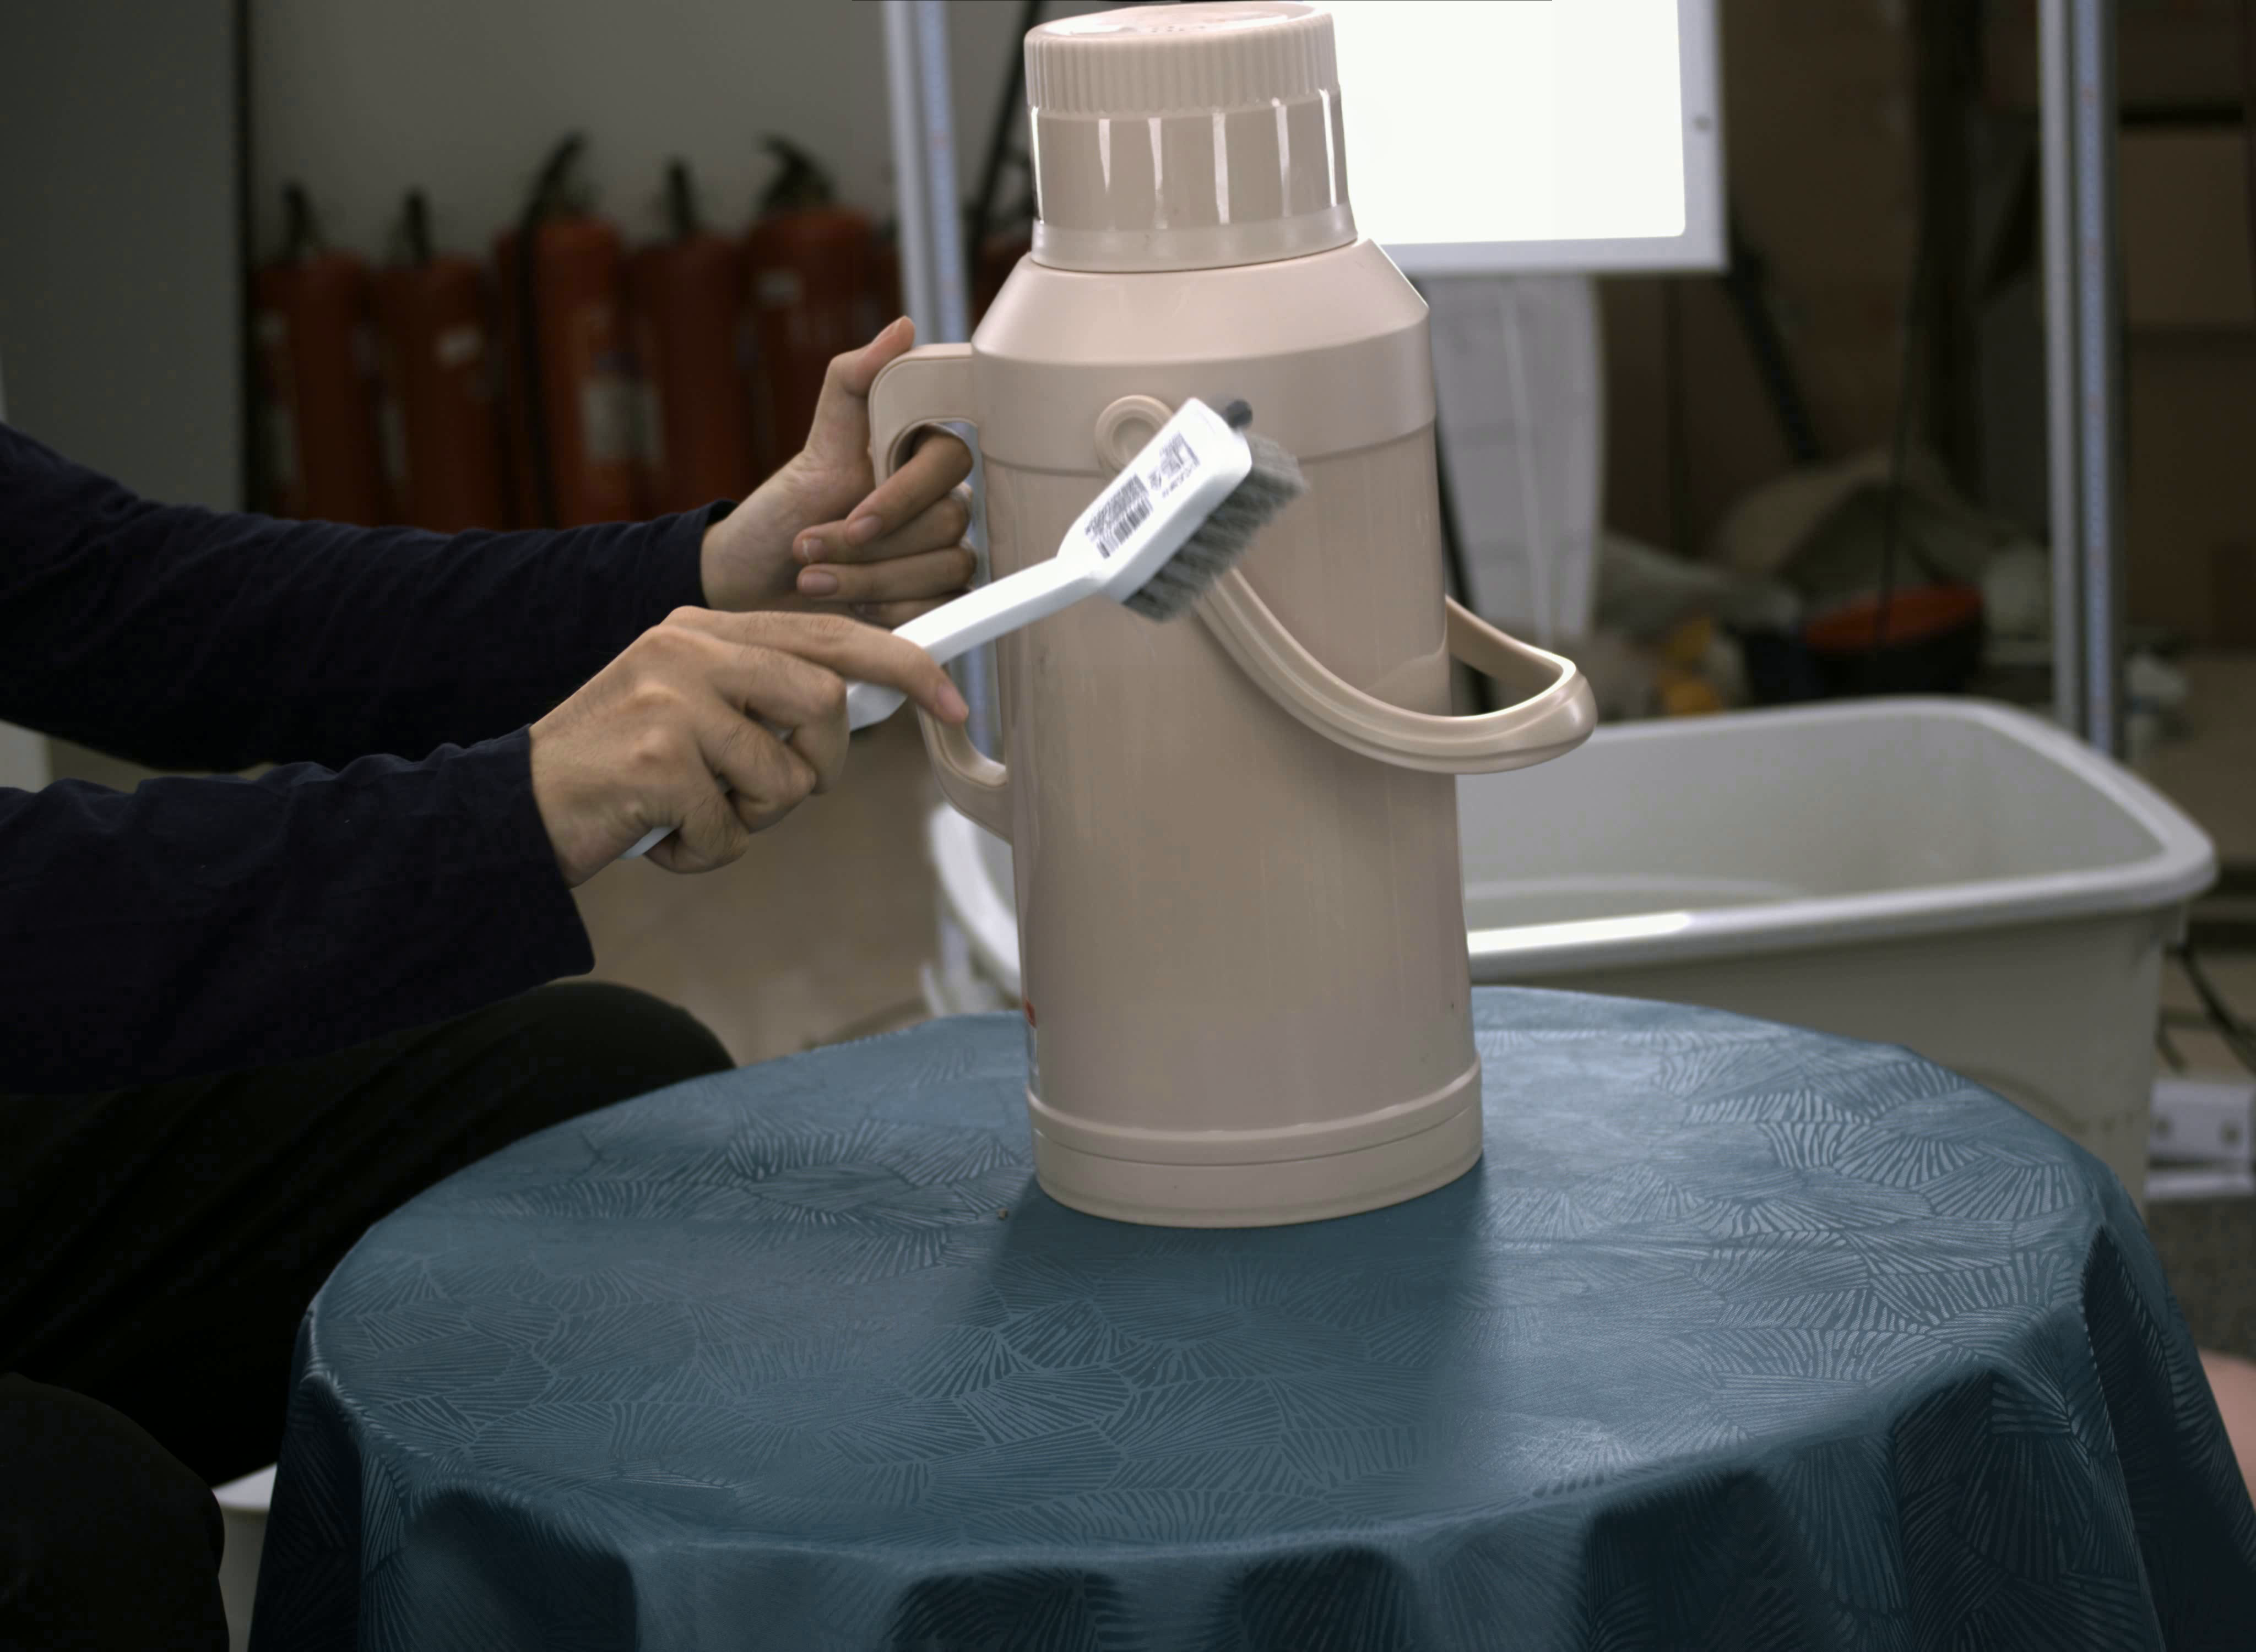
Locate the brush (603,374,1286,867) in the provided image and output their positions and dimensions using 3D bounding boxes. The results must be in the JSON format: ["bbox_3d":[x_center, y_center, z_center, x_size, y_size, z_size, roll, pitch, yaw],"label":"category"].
[{"bbox_3d":[-0.055,-0.054,1.697,0.243,0.050,0.035,-38,46,-2],"label":"brush"}]

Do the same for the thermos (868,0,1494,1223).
[{"bbox_3d":[0.019,-0.076,1.885,0.209,0.408,0.173,-1,16,17],"label":"thermos"}]
